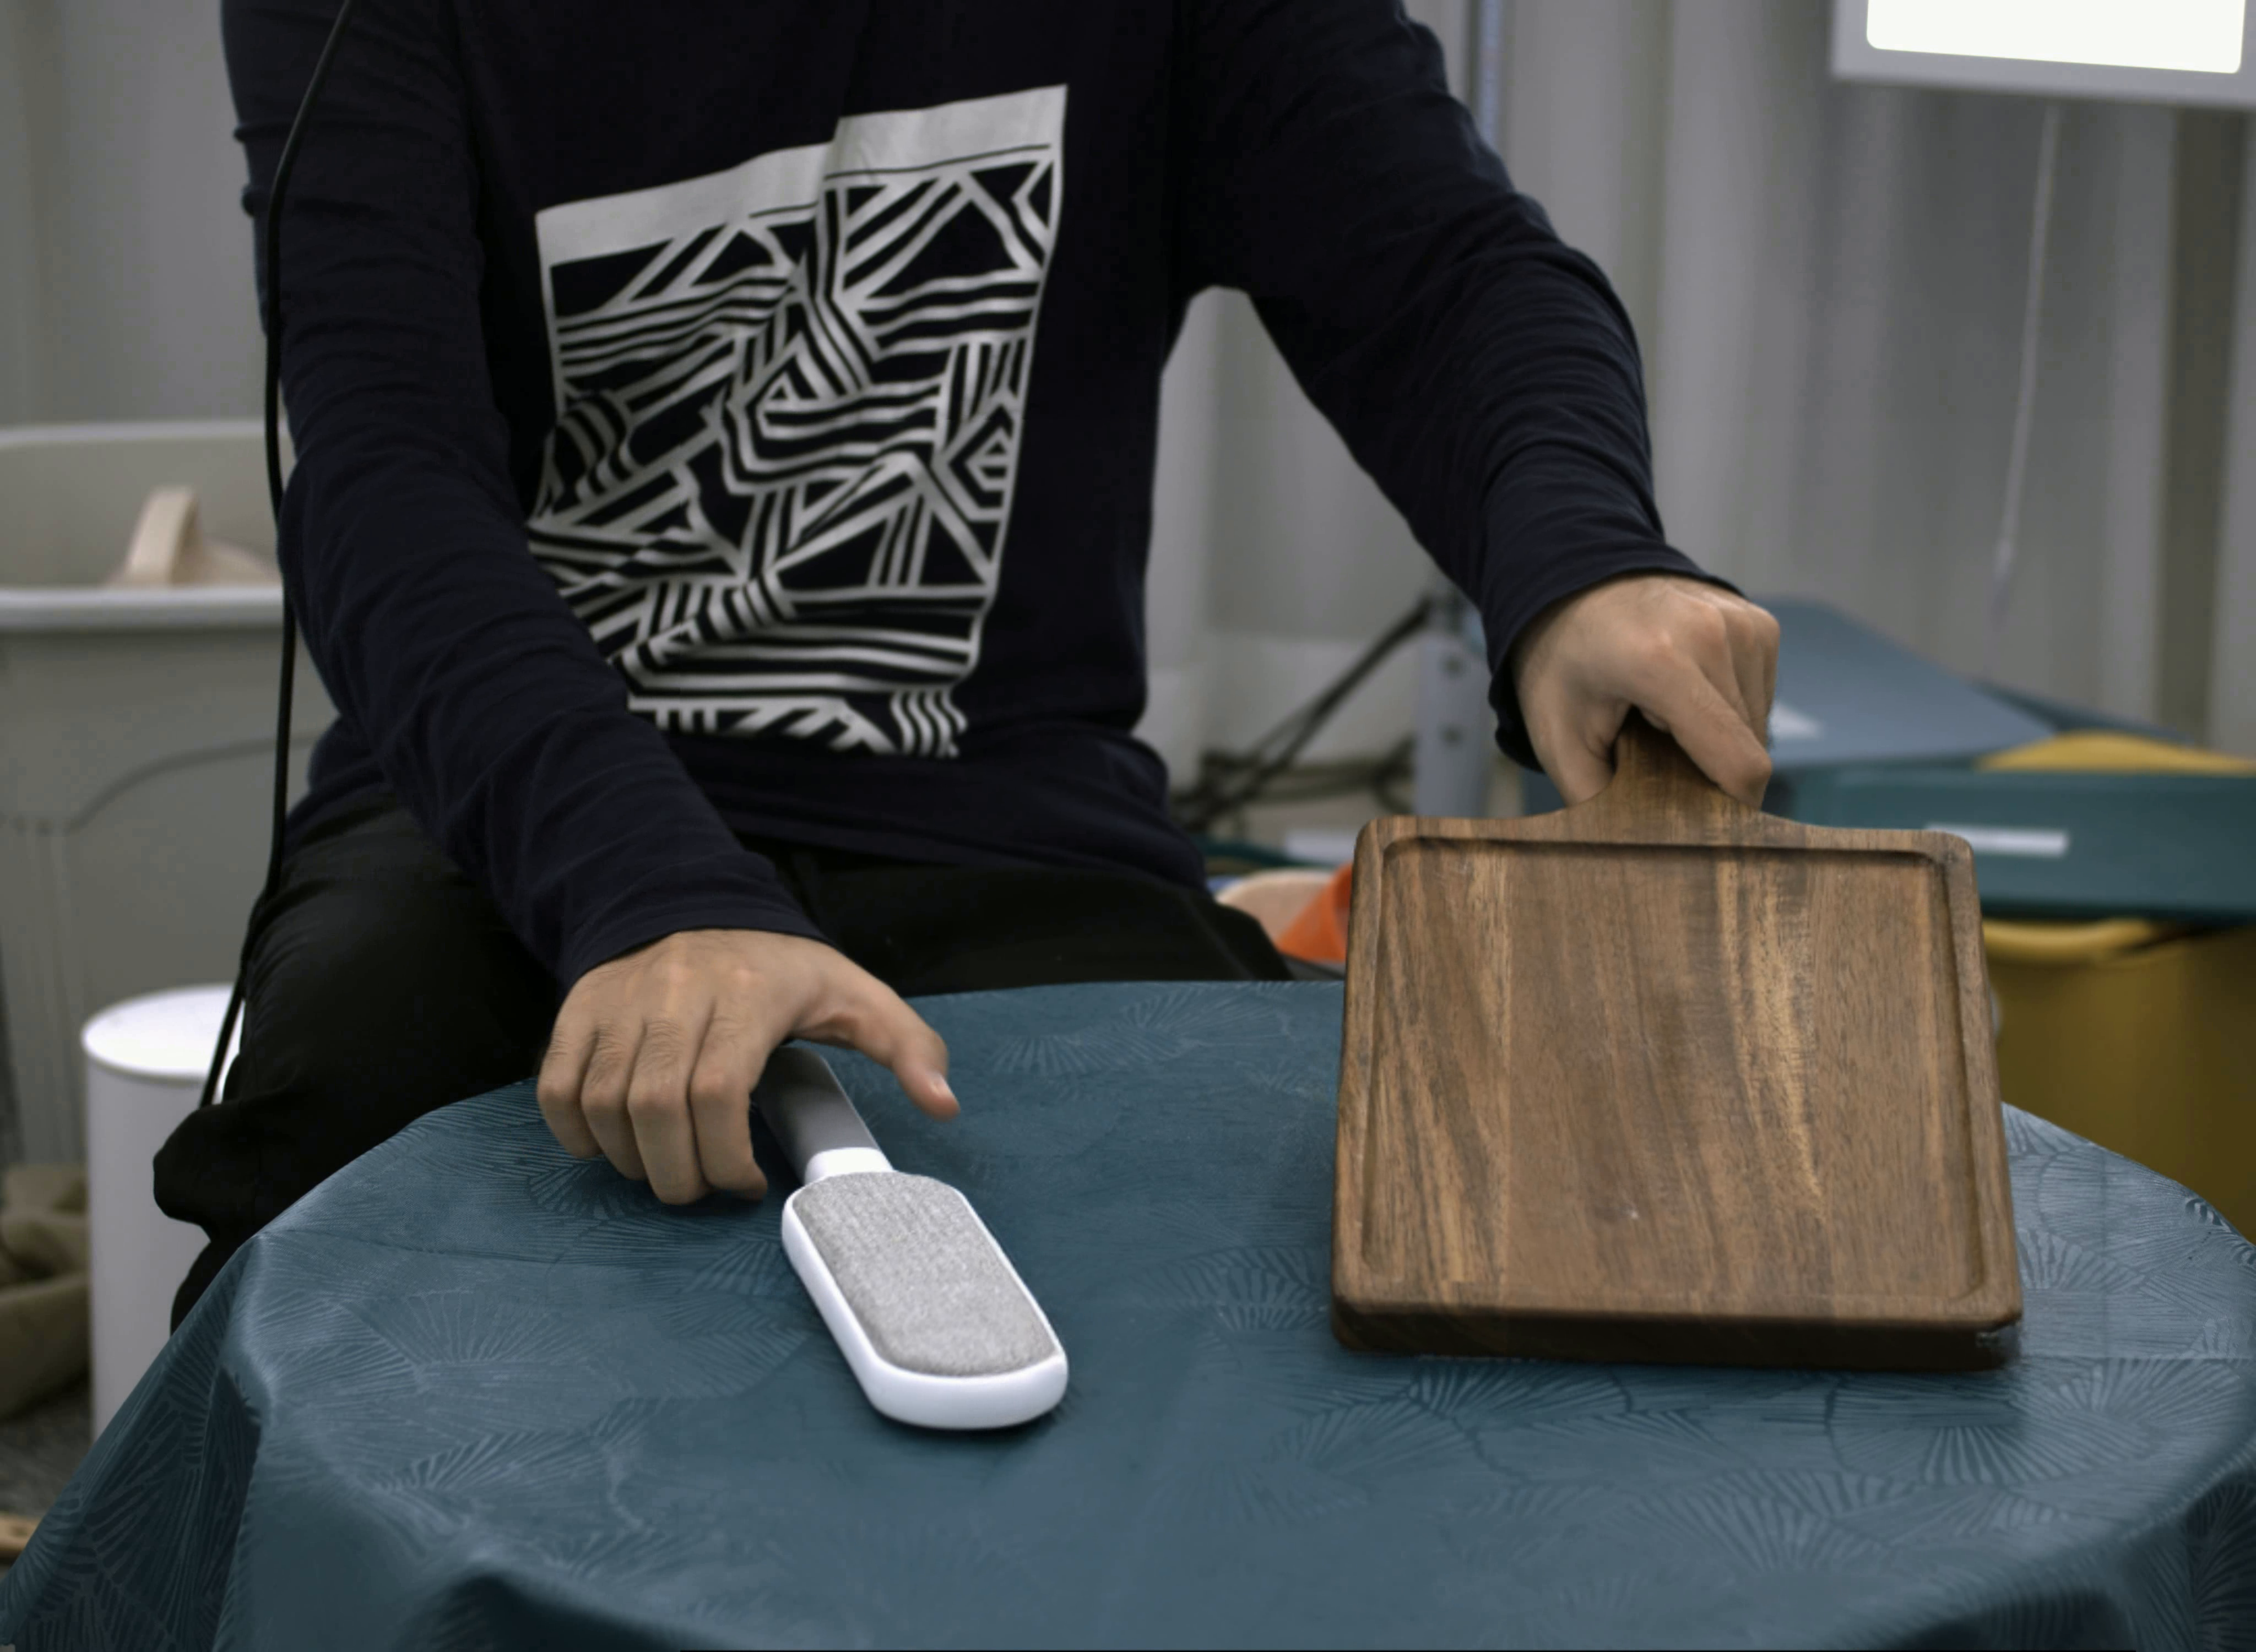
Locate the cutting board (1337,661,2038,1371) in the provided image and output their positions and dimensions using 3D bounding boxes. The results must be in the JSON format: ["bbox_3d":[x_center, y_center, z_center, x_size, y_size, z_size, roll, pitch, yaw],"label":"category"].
[{"bbox_3d":[0.166,0.049,1.622,0.200,0.023,0.349,2,34,3],"label":"cutting board"}]

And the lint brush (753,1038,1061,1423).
[{"bbox_3d":[-0.074,0.115,1.562,0.060,0.021,0.306,-8,17,-12],"label":"lint brush"}]
